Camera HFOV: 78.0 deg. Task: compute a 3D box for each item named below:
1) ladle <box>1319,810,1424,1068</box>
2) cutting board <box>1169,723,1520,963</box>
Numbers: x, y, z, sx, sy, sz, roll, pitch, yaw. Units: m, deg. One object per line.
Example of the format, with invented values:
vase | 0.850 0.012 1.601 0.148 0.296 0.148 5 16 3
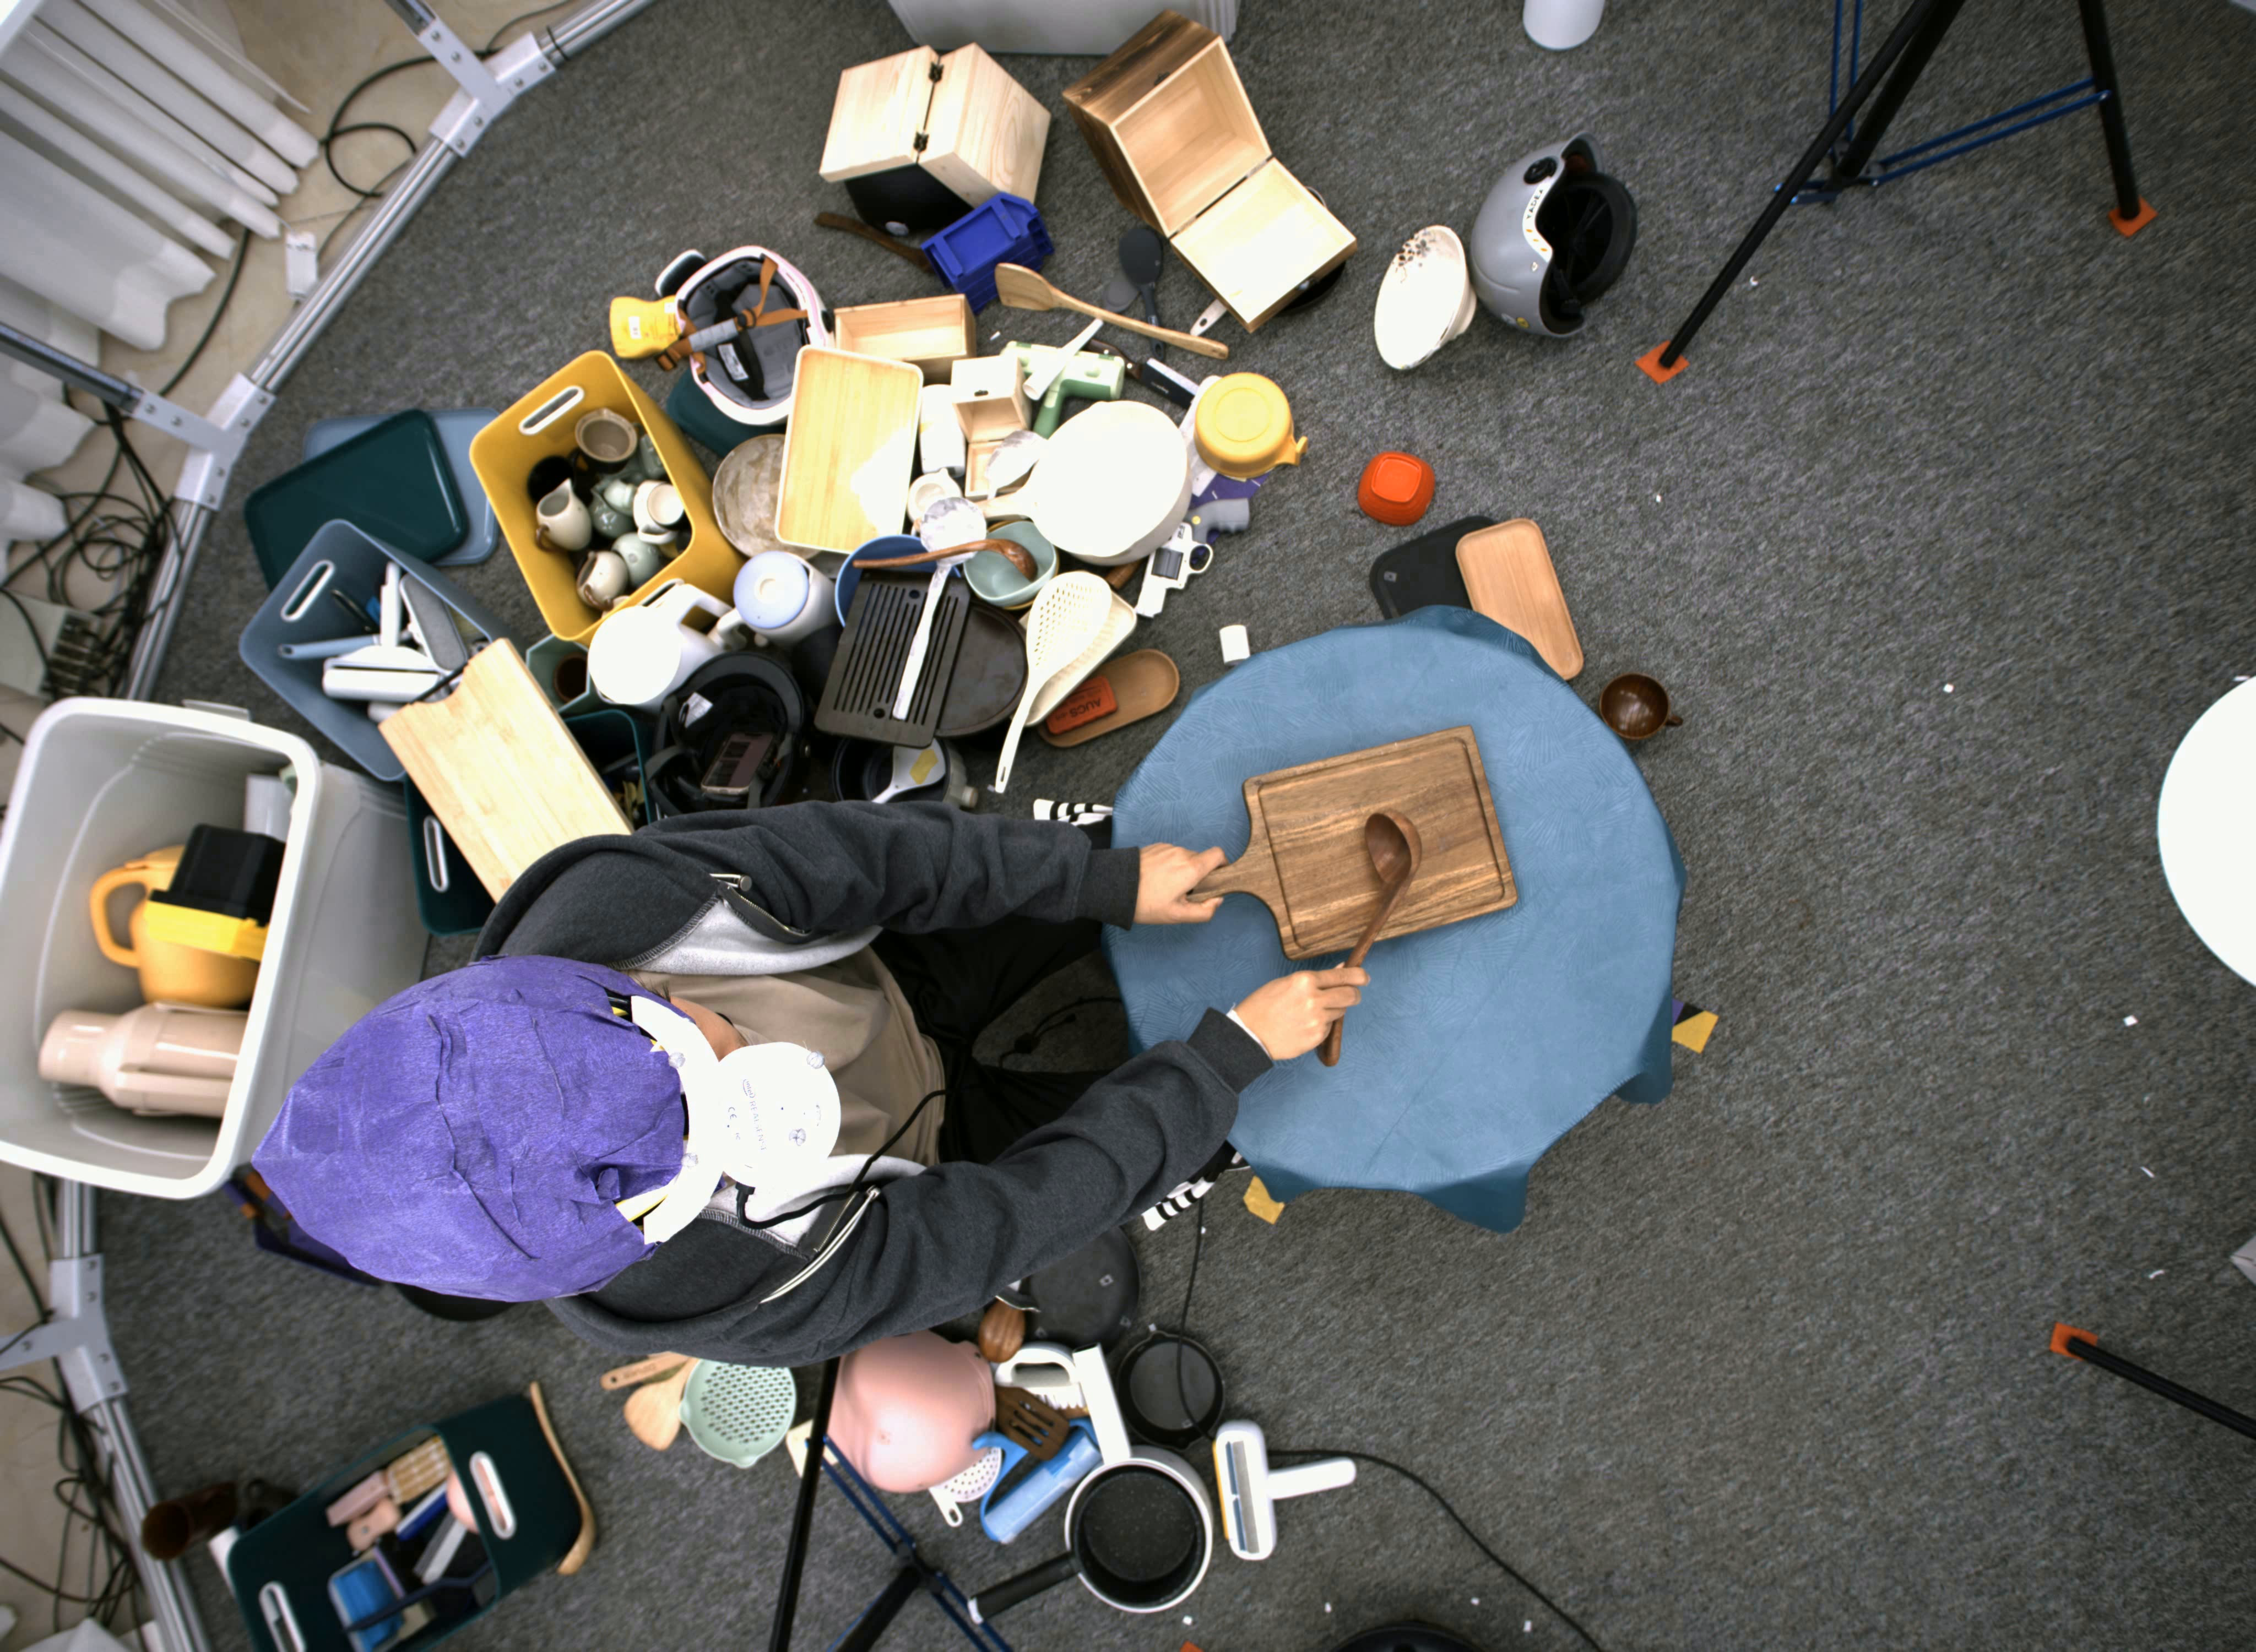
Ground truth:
ladle | 0.226 0.108 1.364 0.065 0.076 0.260 24 89 -23
cutting board | 0.213 0.027 1.428 0.352 0.023 0.200 -14 86 -1
